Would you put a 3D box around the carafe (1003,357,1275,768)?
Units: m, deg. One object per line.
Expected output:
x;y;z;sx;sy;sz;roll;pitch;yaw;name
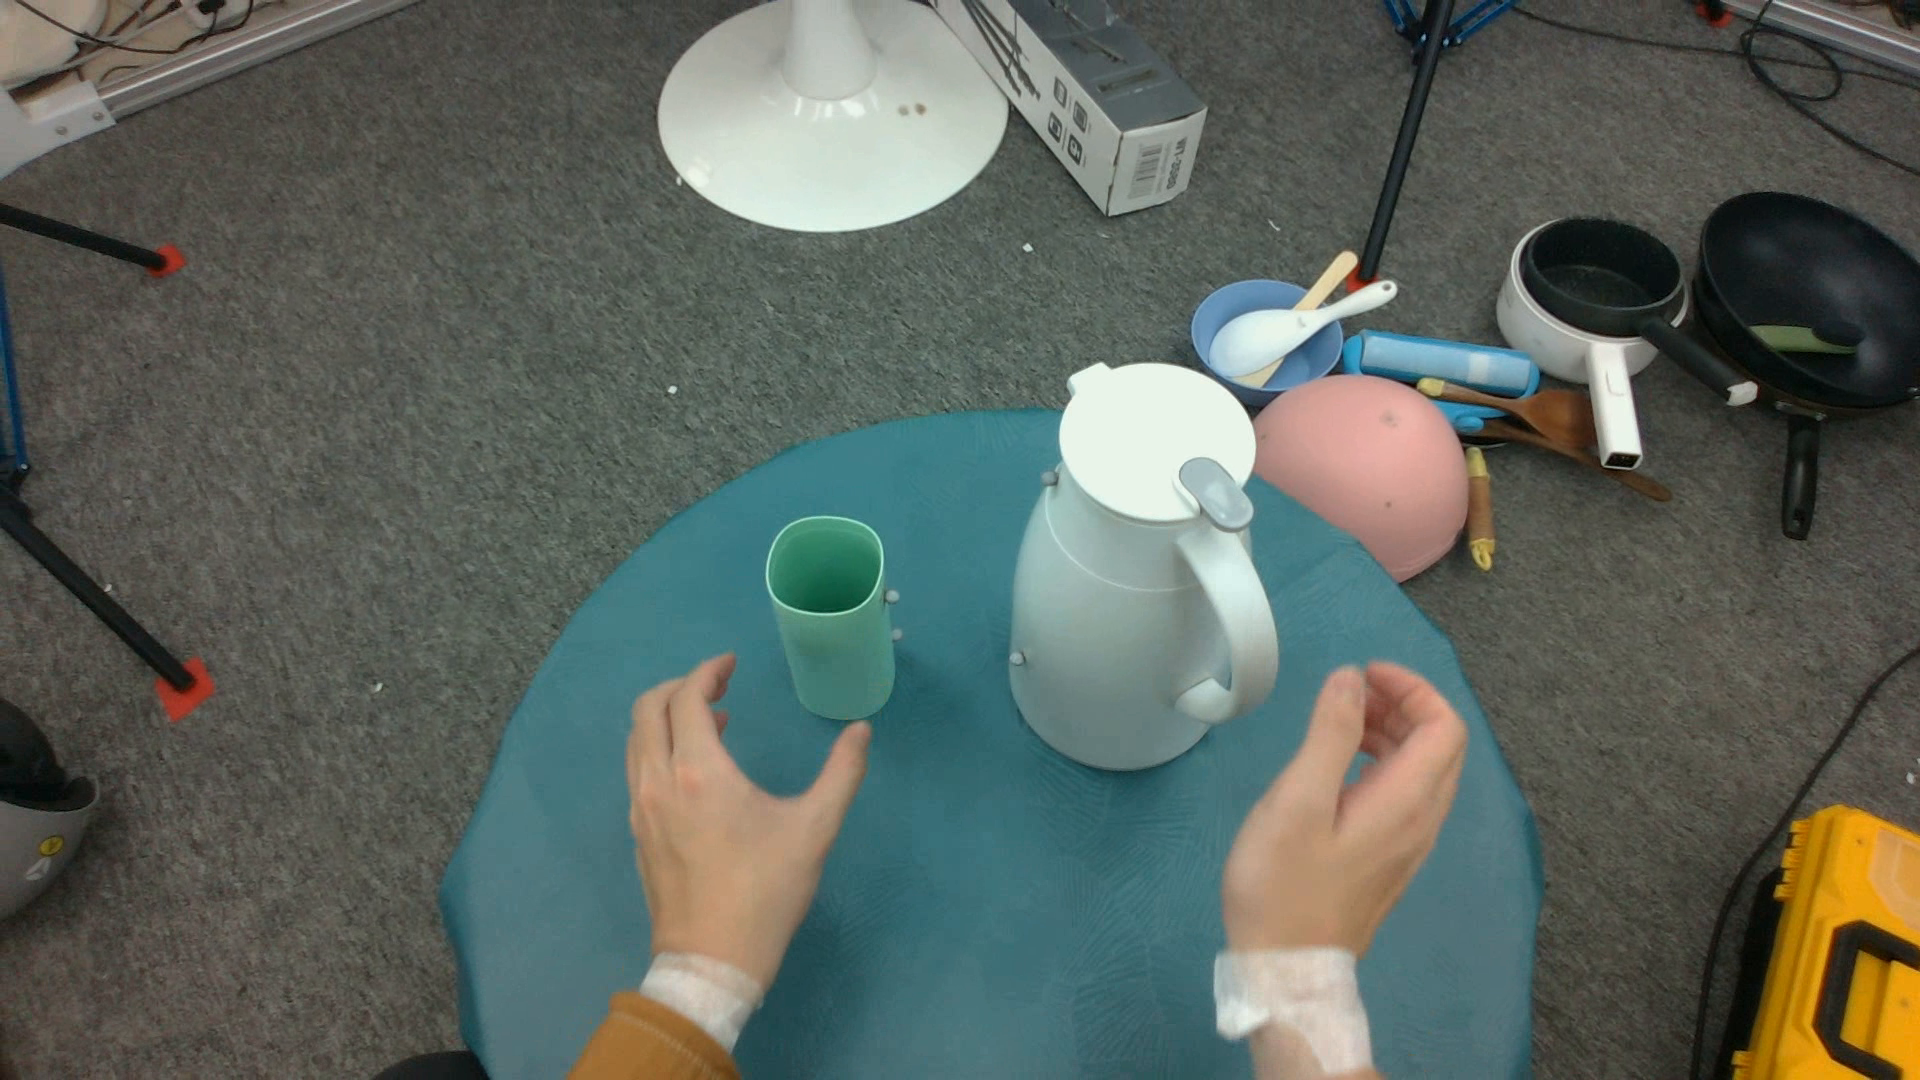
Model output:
0.102;0.026;0.731;0.133;0.247;0.168;-27;61;-16;carafe

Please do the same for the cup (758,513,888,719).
-0.076;0.048;0.790;0.067;0.132;0.067;0;57;0;cup
